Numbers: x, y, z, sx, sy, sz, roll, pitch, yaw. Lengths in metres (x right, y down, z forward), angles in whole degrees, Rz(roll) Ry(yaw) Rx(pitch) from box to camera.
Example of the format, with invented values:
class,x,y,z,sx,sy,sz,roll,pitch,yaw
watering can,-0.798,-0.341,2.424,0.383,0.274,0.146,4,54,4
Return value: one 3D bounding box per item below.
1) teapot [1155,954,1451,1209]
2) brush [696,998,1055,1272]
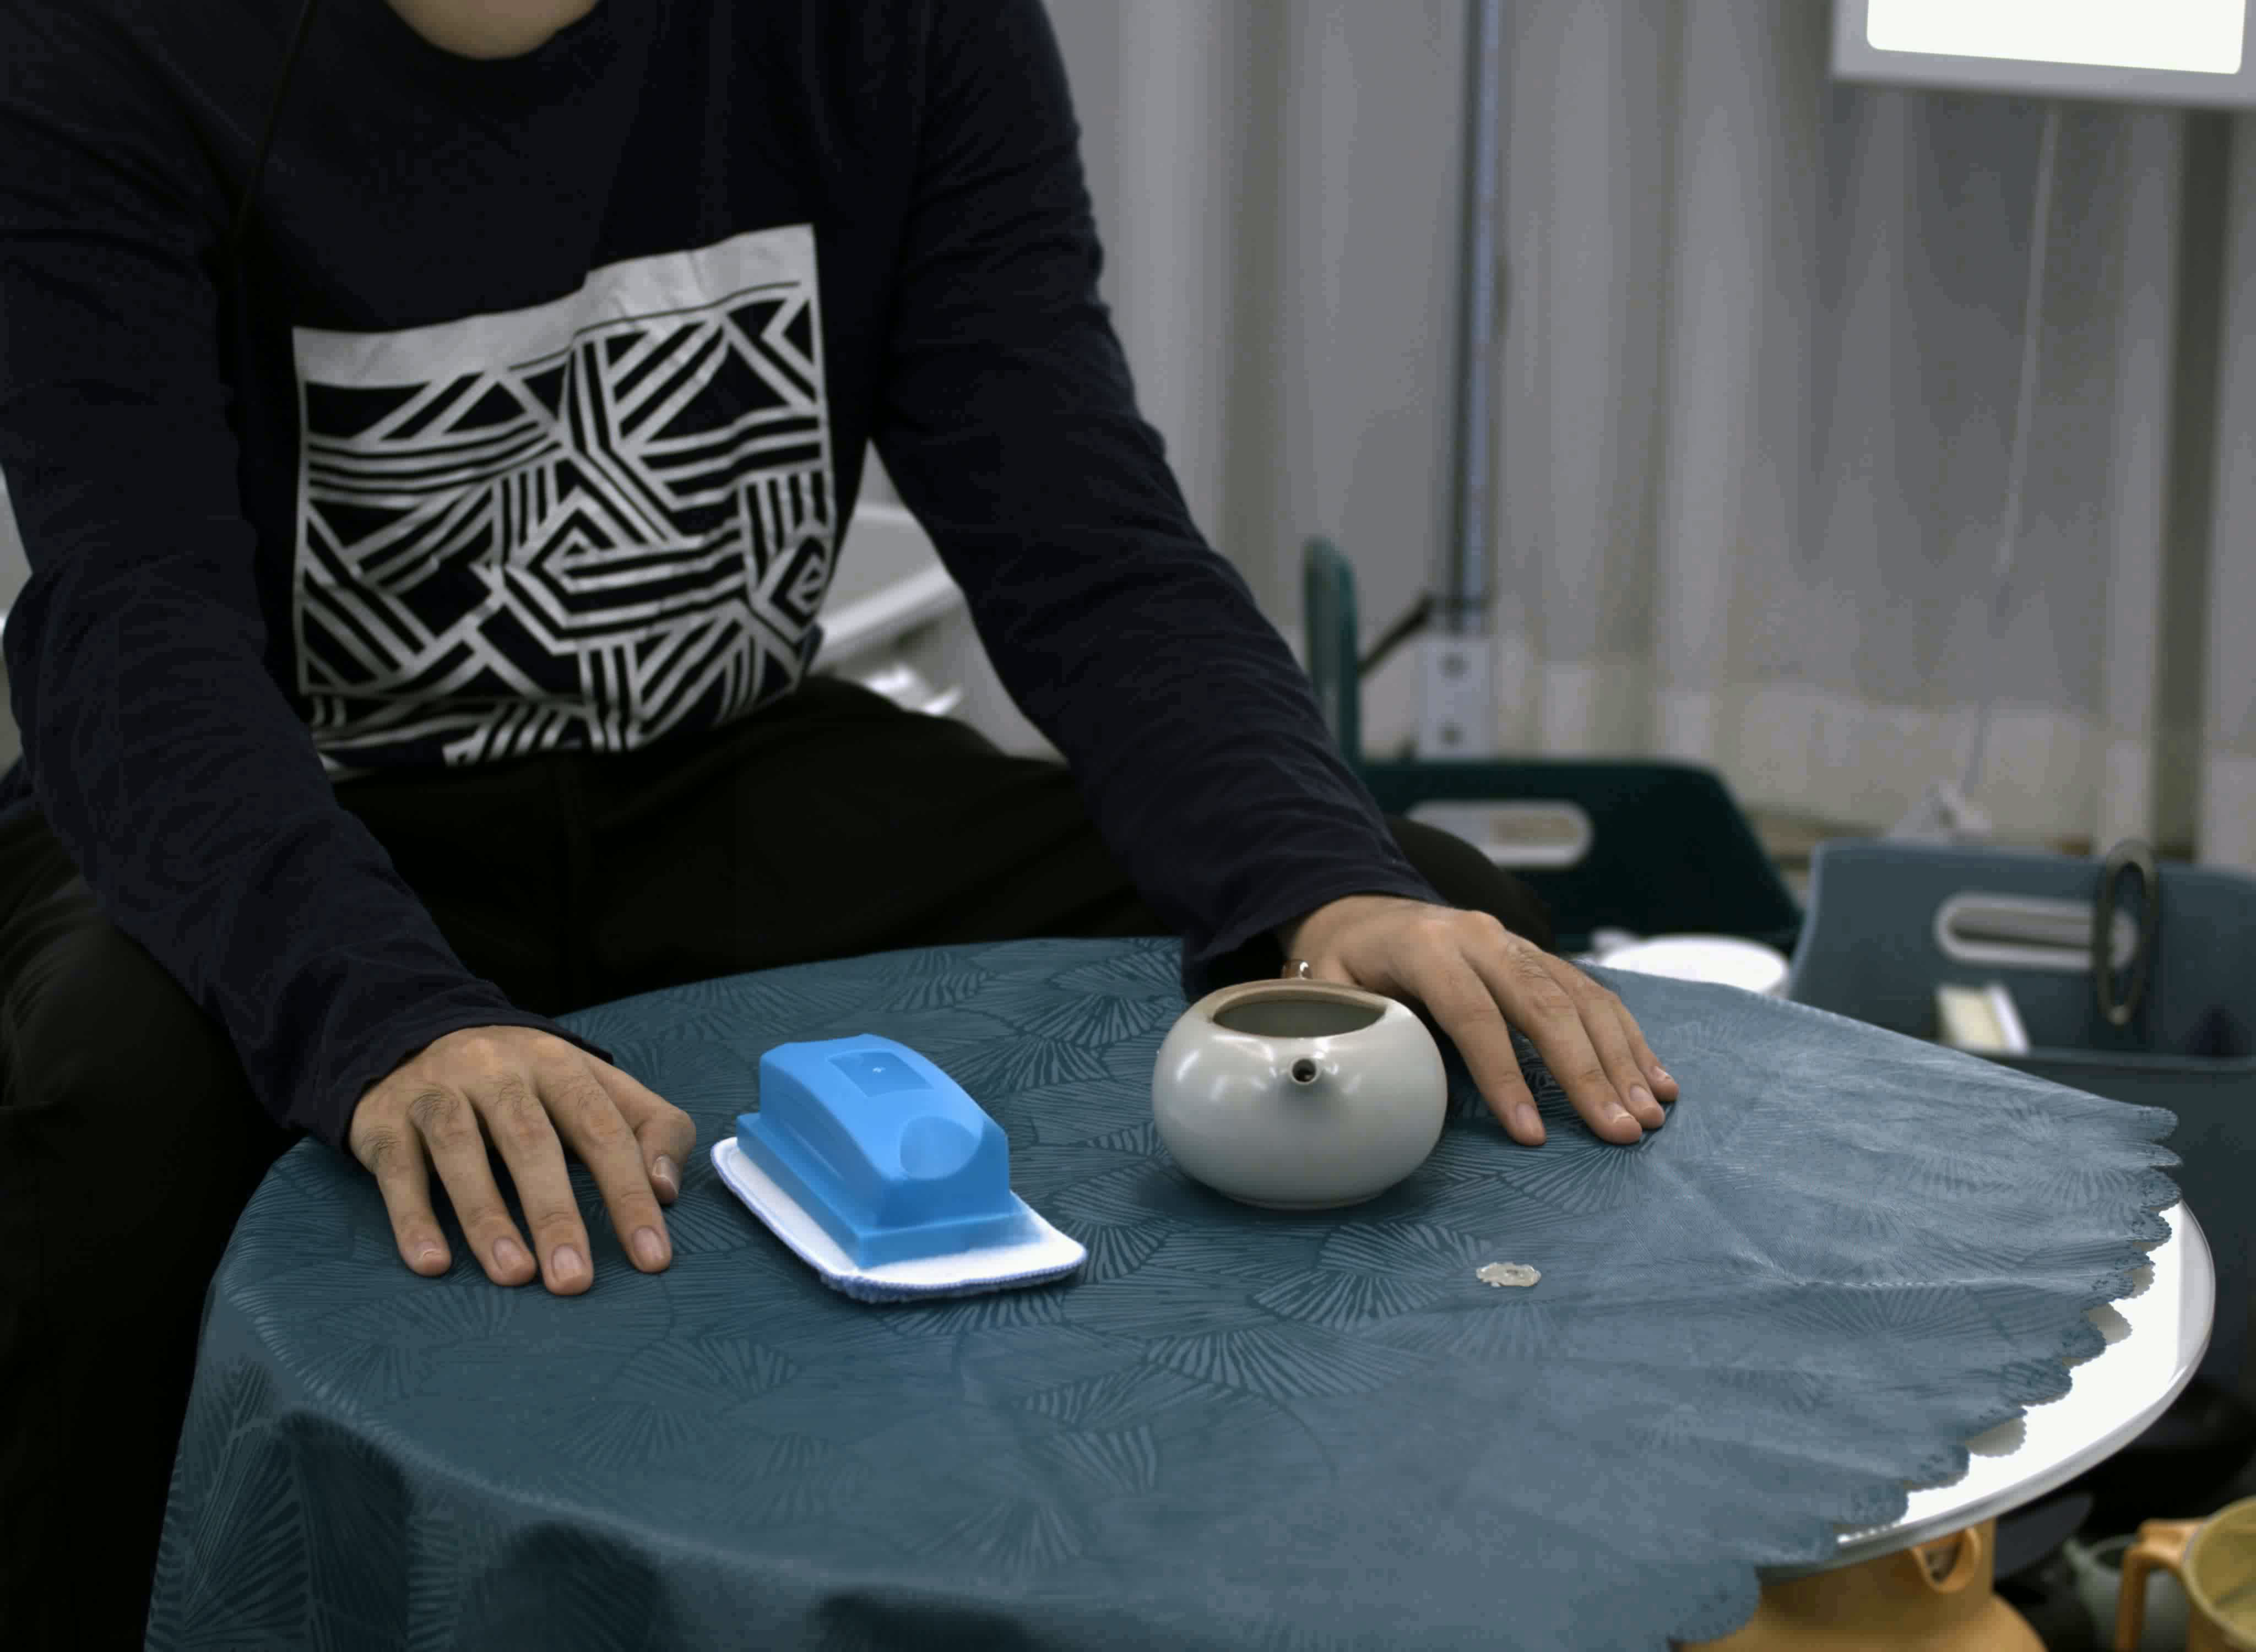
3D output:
class,x,y,z,sx,sy,sz,roll,pitch,yaw
teapot,0.053,0.079,1.636,0.091,0.060,0.127,-3,17,-2
brush,-0.075,0.090,1.586,0.084,0.056,0.142,-2,18,-20
